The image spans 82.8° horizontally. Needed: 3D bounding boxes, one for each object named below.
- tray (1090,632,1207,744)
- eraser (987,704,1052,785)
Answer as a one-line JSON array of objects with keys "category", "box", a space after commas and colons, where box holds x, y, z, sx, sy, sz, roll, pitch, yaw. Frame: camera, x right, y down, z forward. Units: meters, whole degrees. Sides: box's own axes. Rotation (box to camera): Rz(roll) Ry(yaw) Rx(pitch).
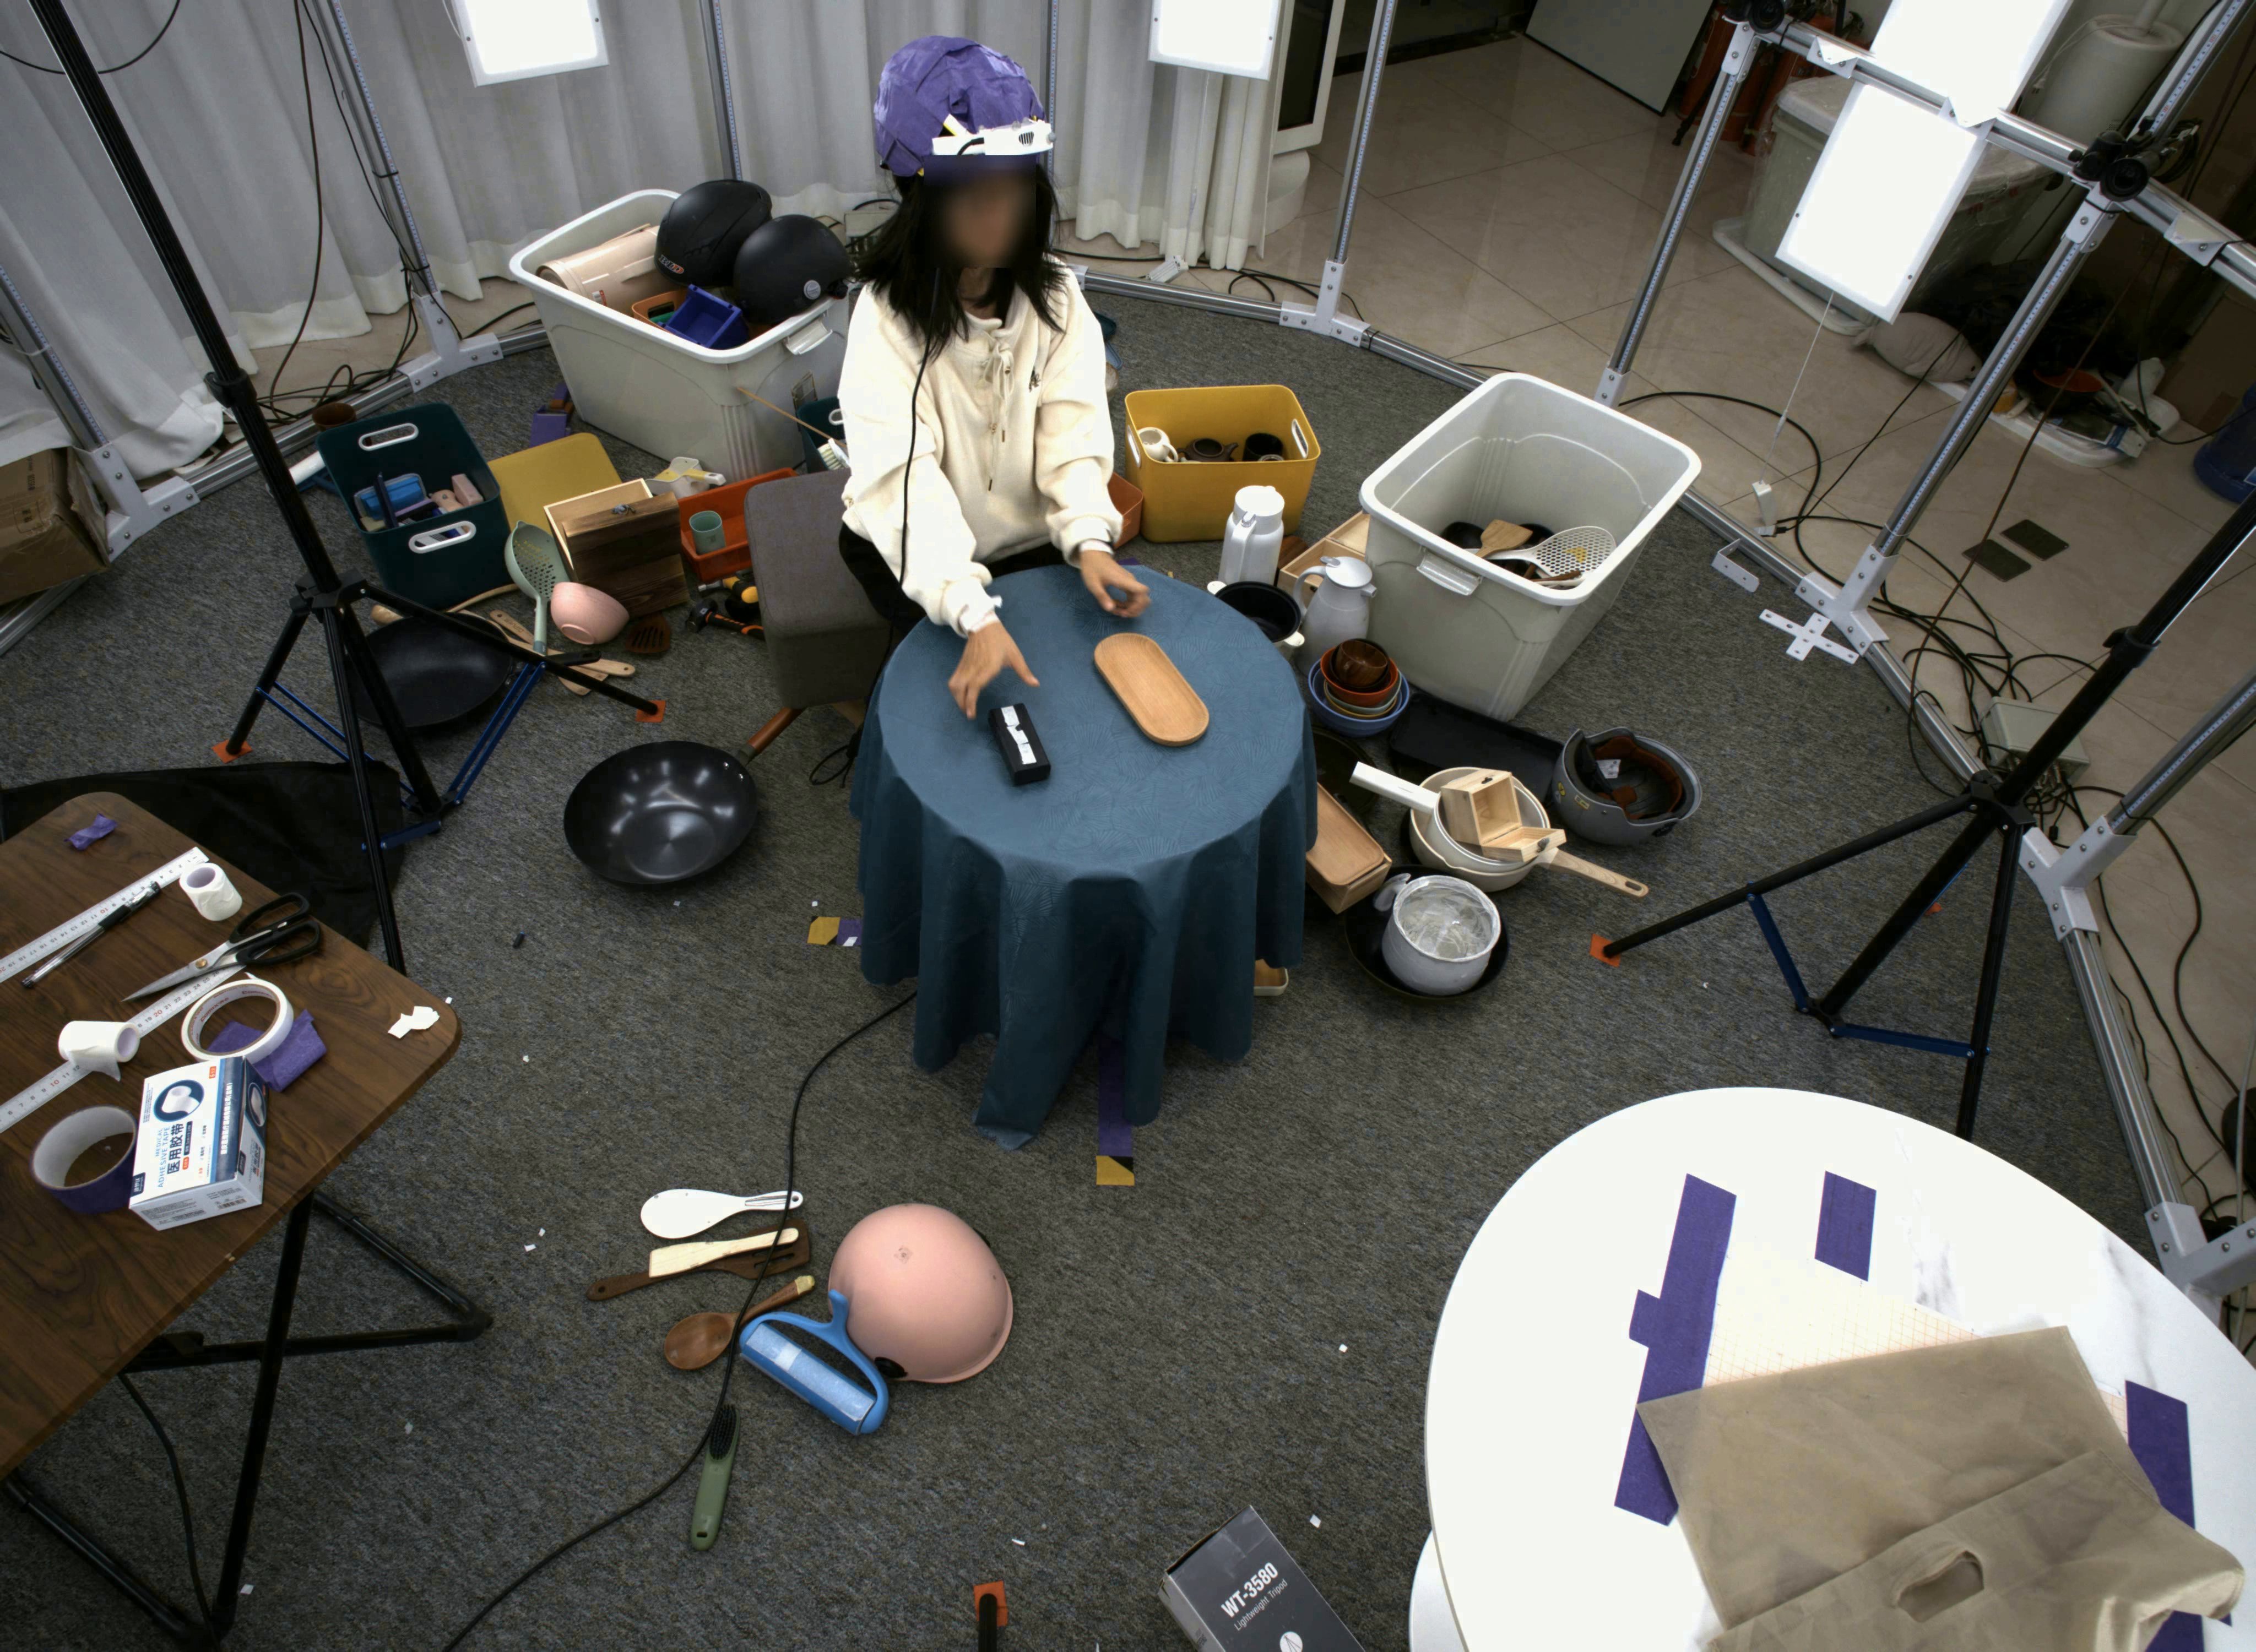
[{"category": "tray", "box": [0.028, -0.199, 1.834, 0.102, 0.020, 0.236, -21, 52, -21]}, {"category": "eraser", "box": [-0.148, -0.111, 1.737, 0.053, 0.030, 0.128, -10, 52, -20]}]
